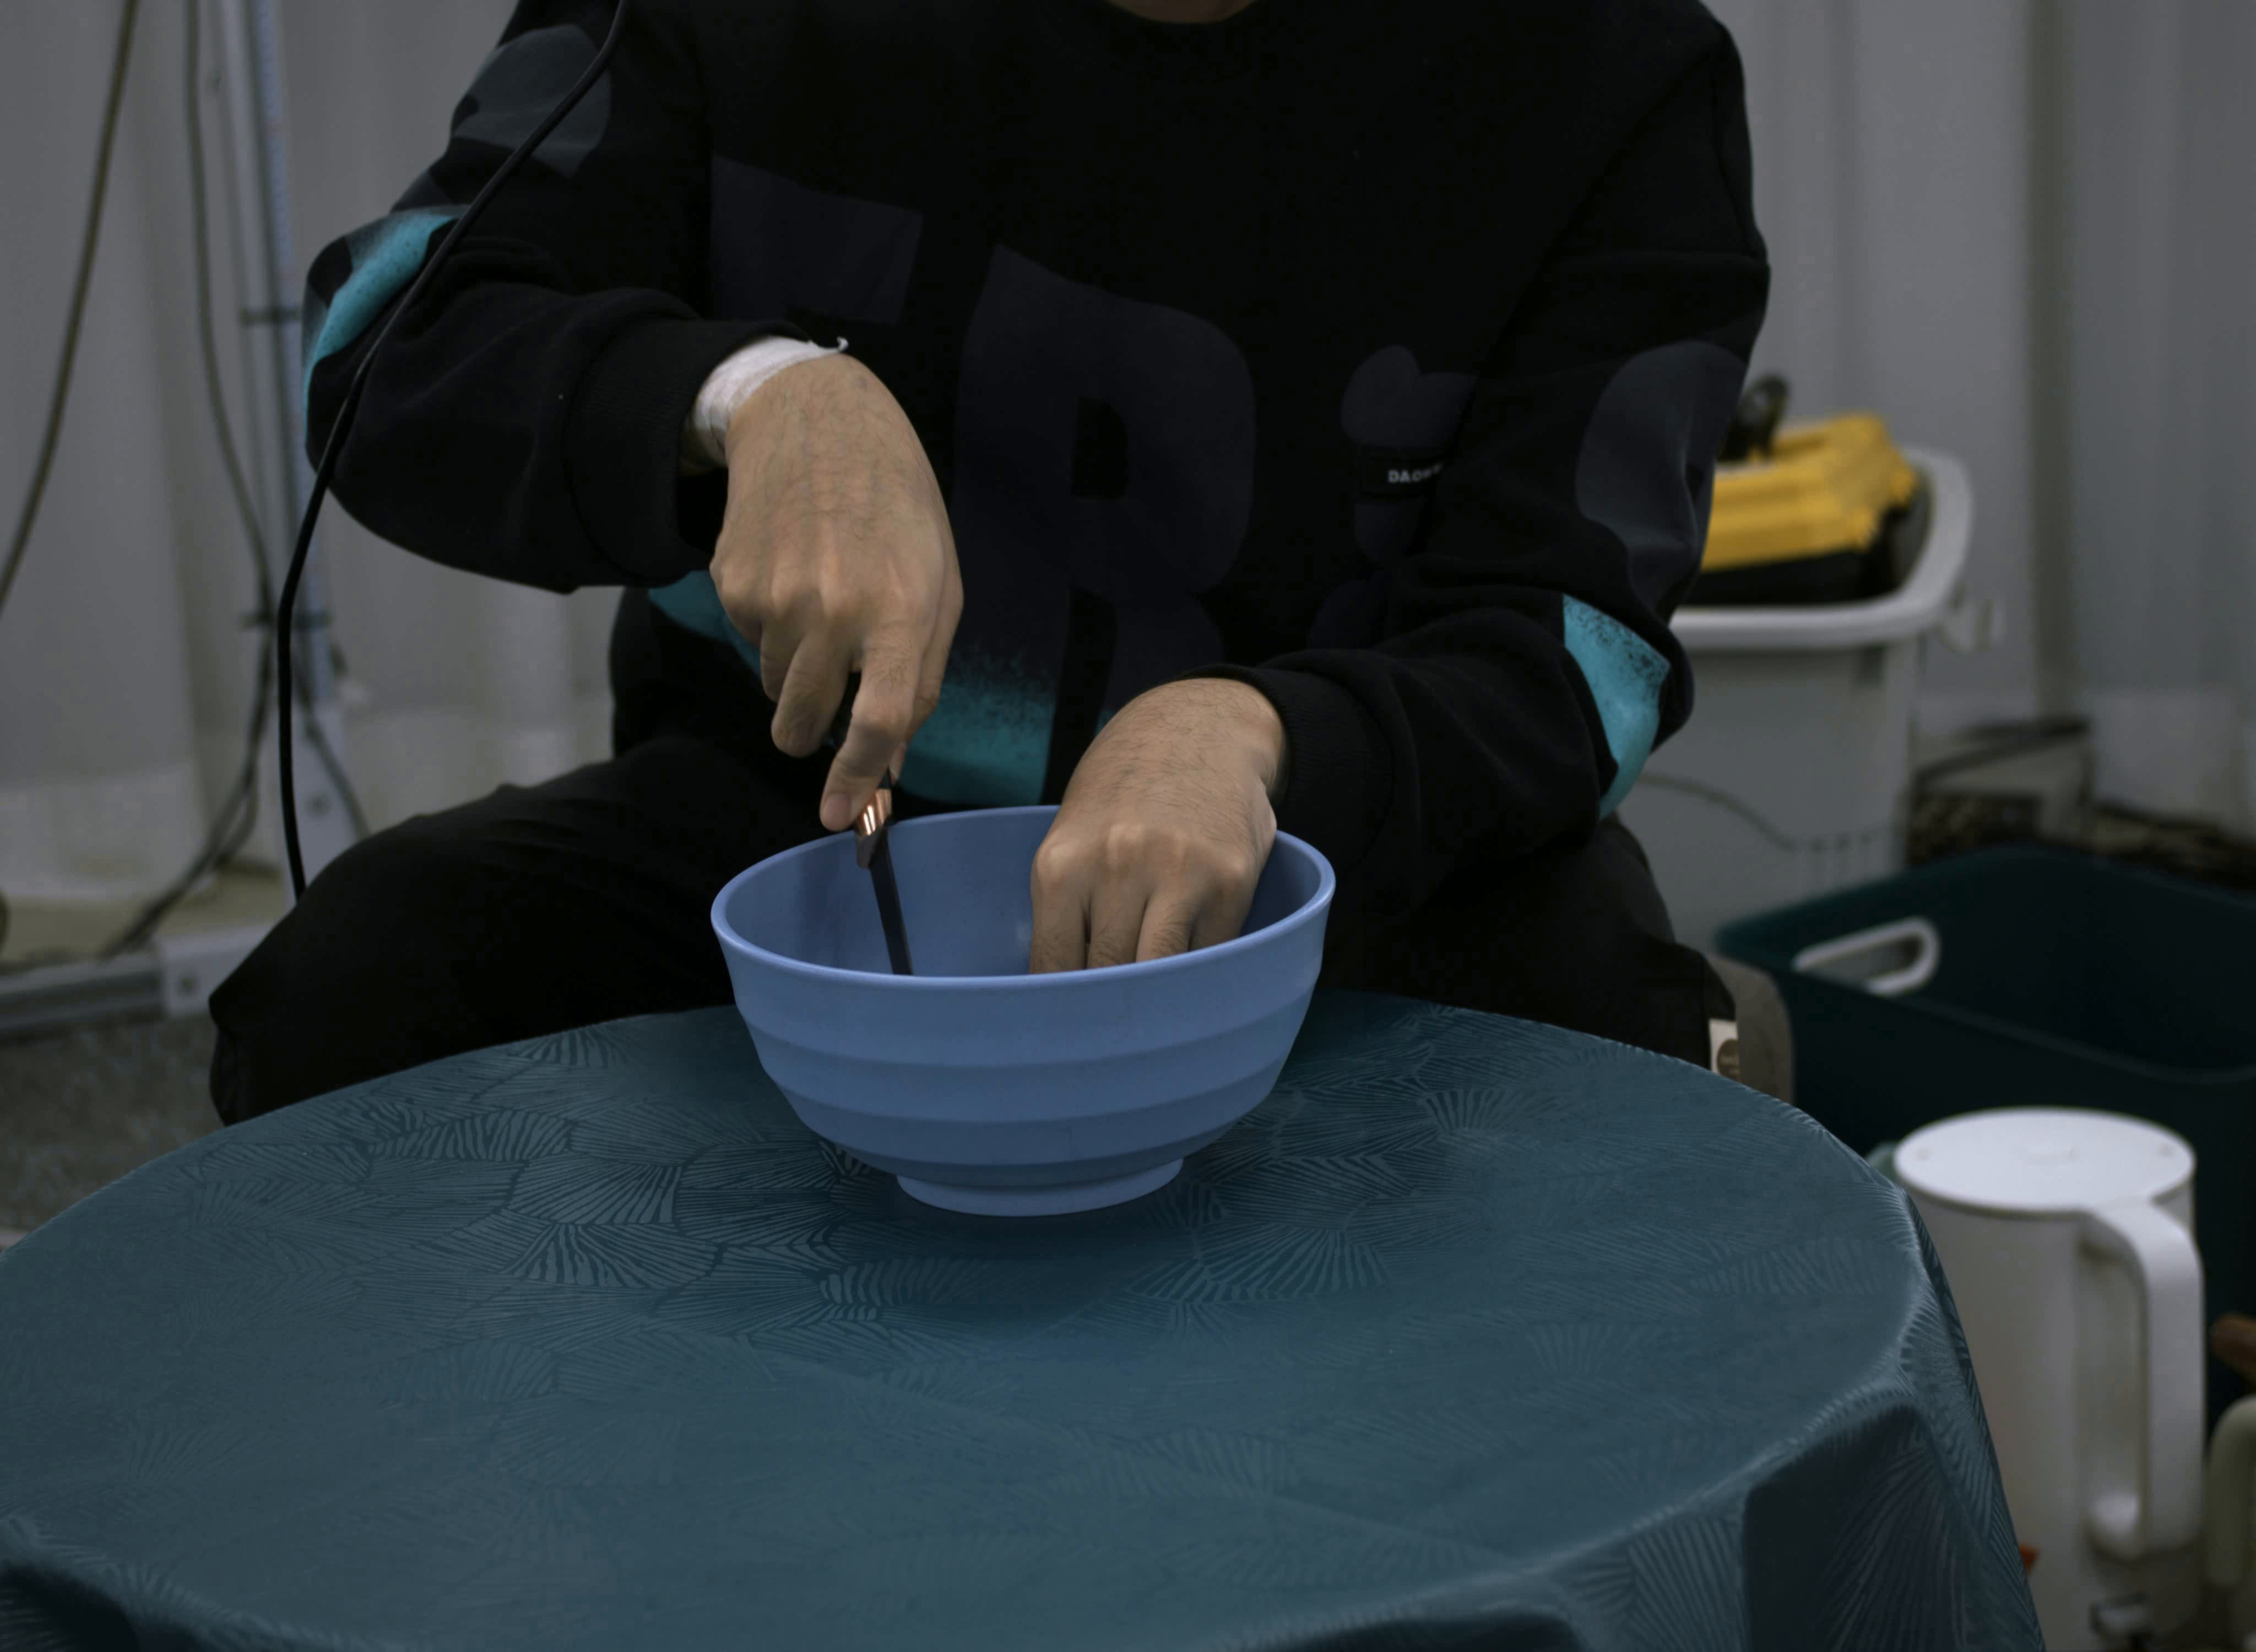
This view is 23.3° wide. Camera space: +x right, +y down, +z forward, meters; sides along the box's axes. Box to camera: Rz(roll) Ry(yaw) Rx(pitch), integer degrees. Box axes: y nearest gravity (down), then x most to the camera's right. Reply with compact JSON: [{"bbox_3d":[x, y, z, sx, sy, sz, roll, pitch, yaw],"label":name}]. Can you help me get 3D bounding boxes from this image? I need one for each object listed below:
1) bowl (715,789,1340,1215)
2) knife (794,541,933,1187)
[{"bbox_3d":[-0.030,0.062,1.726,0.196,0.095,0.198,-2,18,0],"label":"bowl"},{"bbox_3d":[-0.080,0.011,1.755,0.017,0.228,0.026,-2,-26,-24],"label":"knife"}]
